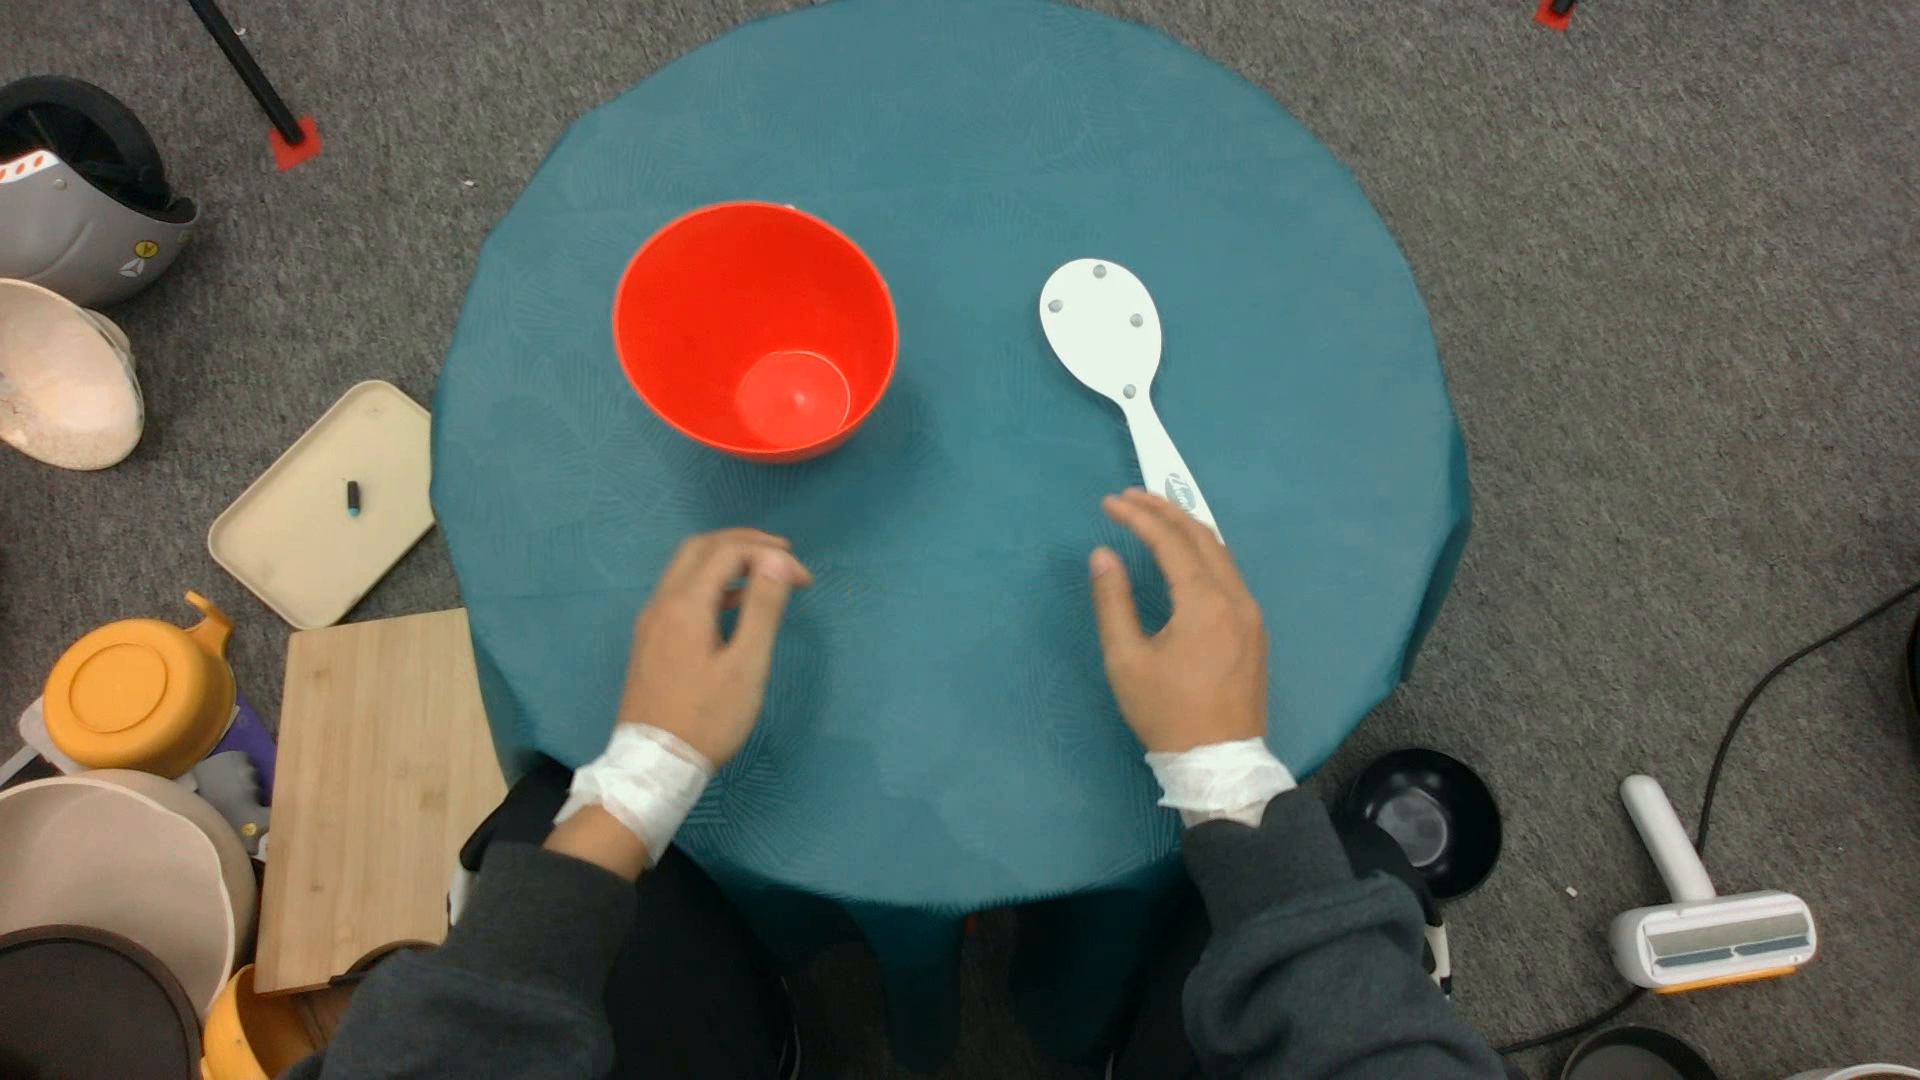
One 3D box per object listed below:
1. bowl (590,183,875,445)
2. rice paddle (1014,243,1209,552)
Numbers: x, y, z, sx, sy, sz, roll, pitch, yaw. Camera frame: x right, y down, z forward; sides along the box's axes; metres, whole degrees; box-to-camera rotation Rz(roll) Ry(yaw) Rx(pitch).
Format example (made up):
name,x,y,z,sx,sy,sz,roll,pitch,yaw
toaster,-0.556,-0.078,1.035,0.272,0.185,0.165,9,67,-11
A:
name,x,y,z,sx,sy,sz,roll,pitch,yaw
bowl,-0.120,-0.111,0.766,0.148,0.104,0.148,1,70,-3
rice paddle,0.089,-0.090,0.803,0.069,0.029,0.205,-19,72,-10
